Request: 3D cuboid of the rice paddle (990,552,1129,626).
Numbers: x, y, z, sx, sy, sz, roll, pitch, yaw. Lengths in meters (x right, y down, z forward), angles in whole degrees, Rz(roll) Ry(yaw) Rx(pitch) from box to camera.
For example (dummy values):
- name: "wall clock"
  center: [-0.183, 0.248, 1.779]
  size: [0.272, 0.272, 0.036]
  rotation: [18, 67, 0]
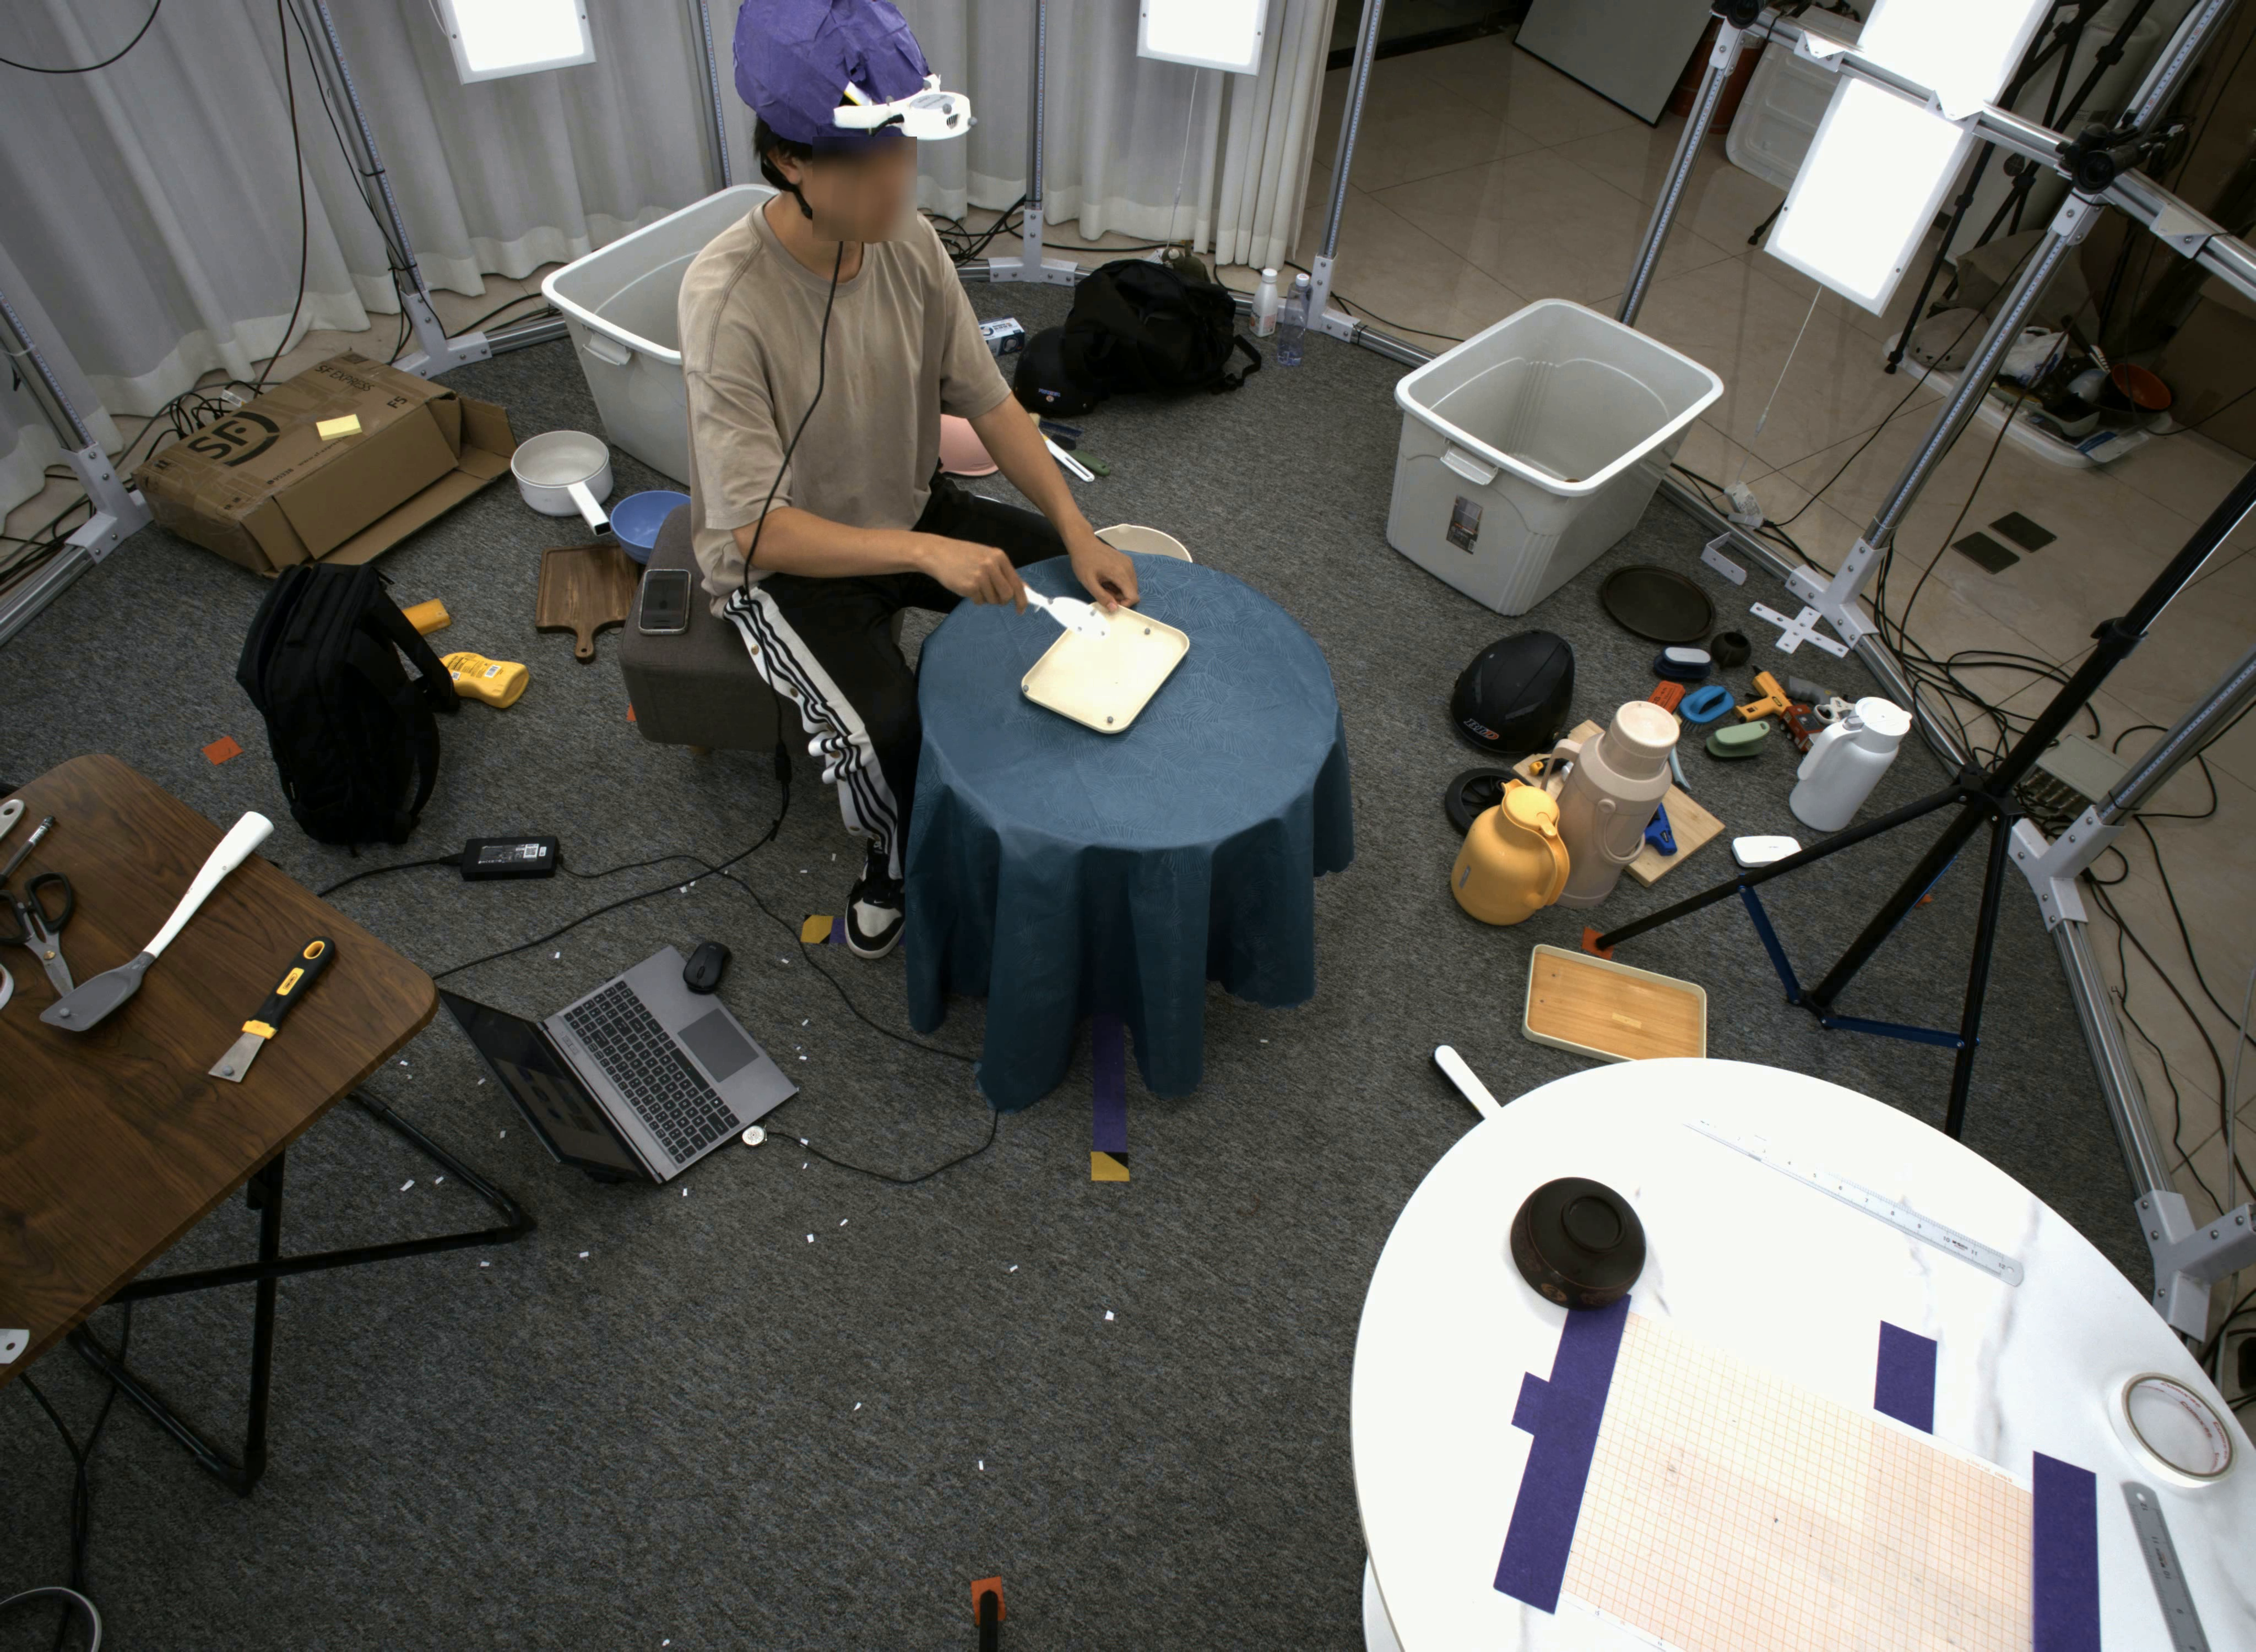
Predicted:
- name: "rice paddle"
  center: [-0.084, -0.312, 1.699]
  size: [0.203, 0.029, 0.070]
  rotation: [17, 43, -27]

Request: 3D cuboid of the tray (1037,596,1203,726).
- name: "tray"
  center: [-0.009, -0.239, 1.849]
  size: [0.172, 0.017, 0.243]
  rotation: [25, 50, 15]
